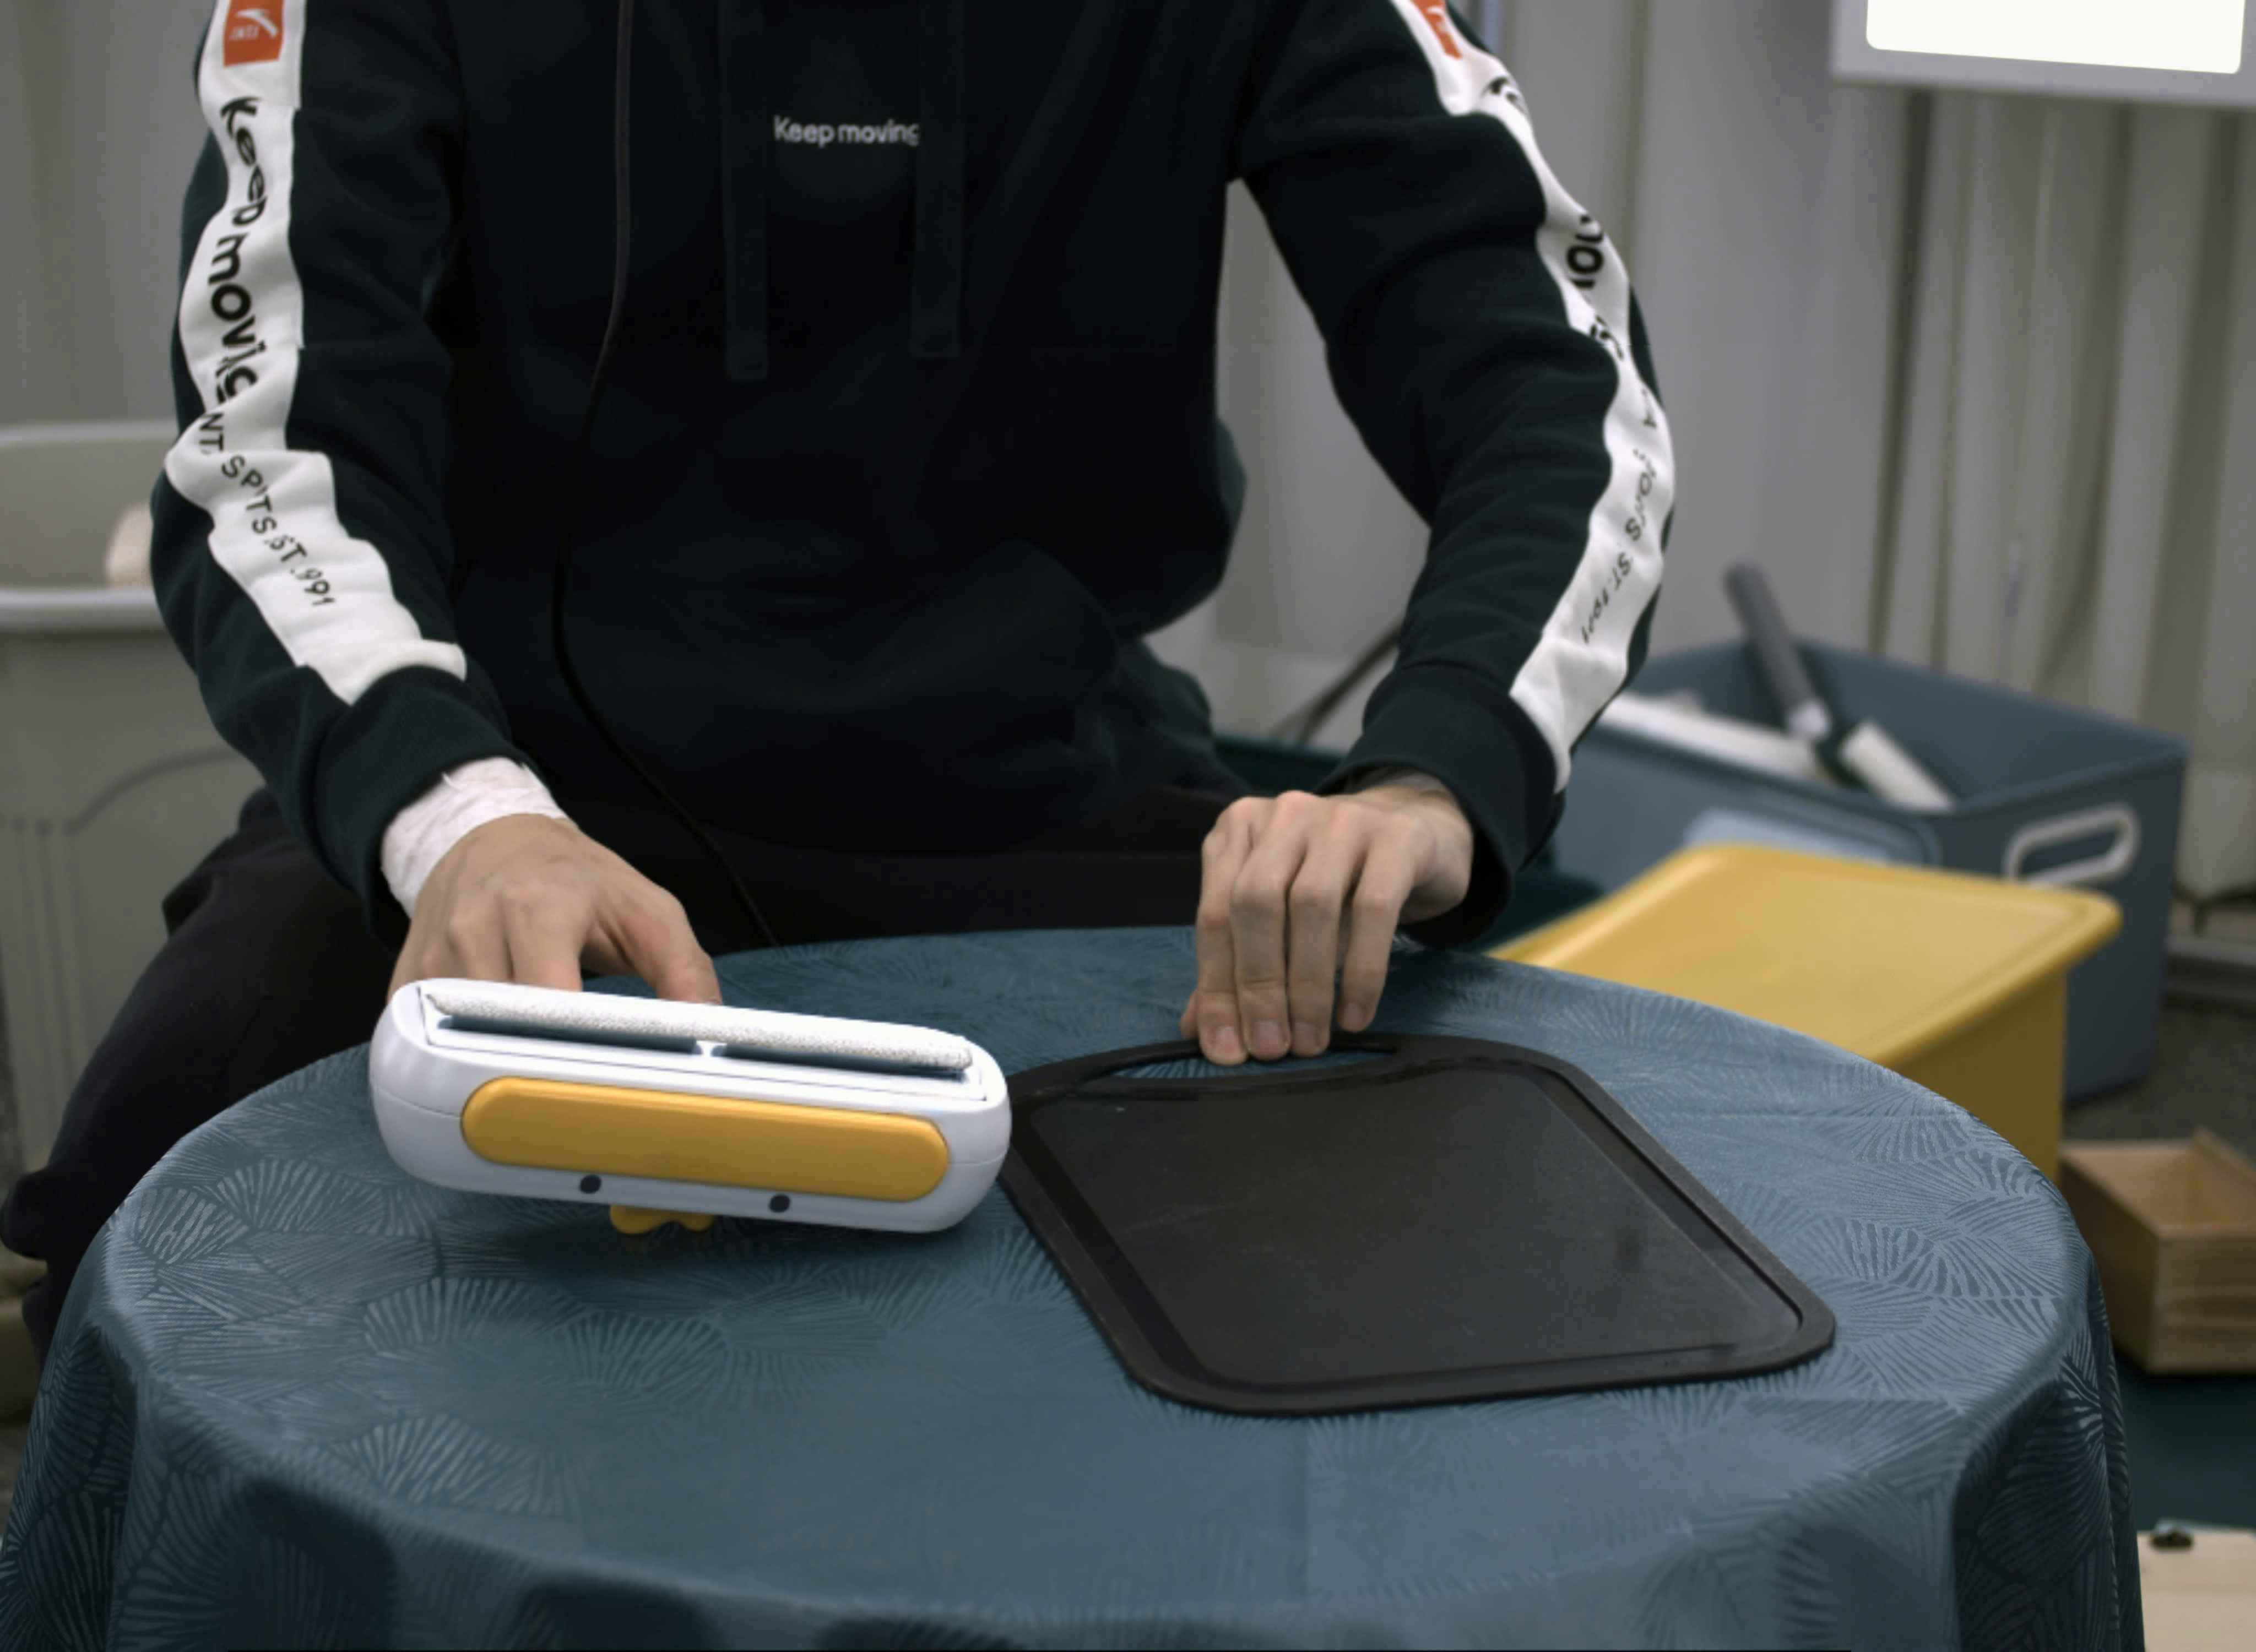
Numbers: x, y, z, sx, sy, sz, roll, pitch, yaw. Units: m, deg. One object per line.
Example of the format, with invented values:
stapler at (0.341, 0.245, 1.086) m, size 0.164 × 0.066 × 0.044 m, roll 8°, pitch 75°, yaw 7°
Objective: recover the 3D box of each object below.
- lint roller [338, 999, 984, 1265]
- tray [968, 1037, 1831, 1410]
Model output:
lint roller at (-0.147, 0.095, 1.622) m, size 0.193 × 0.074 × 0.192 m, roll 5°, pitch 0°, yaw -9°
tray at (0.072, 0.113, 1.606) m, size 0.211 × 0.010 × 0.322 m, roll -3°, pitch 16°, yaw -13°
